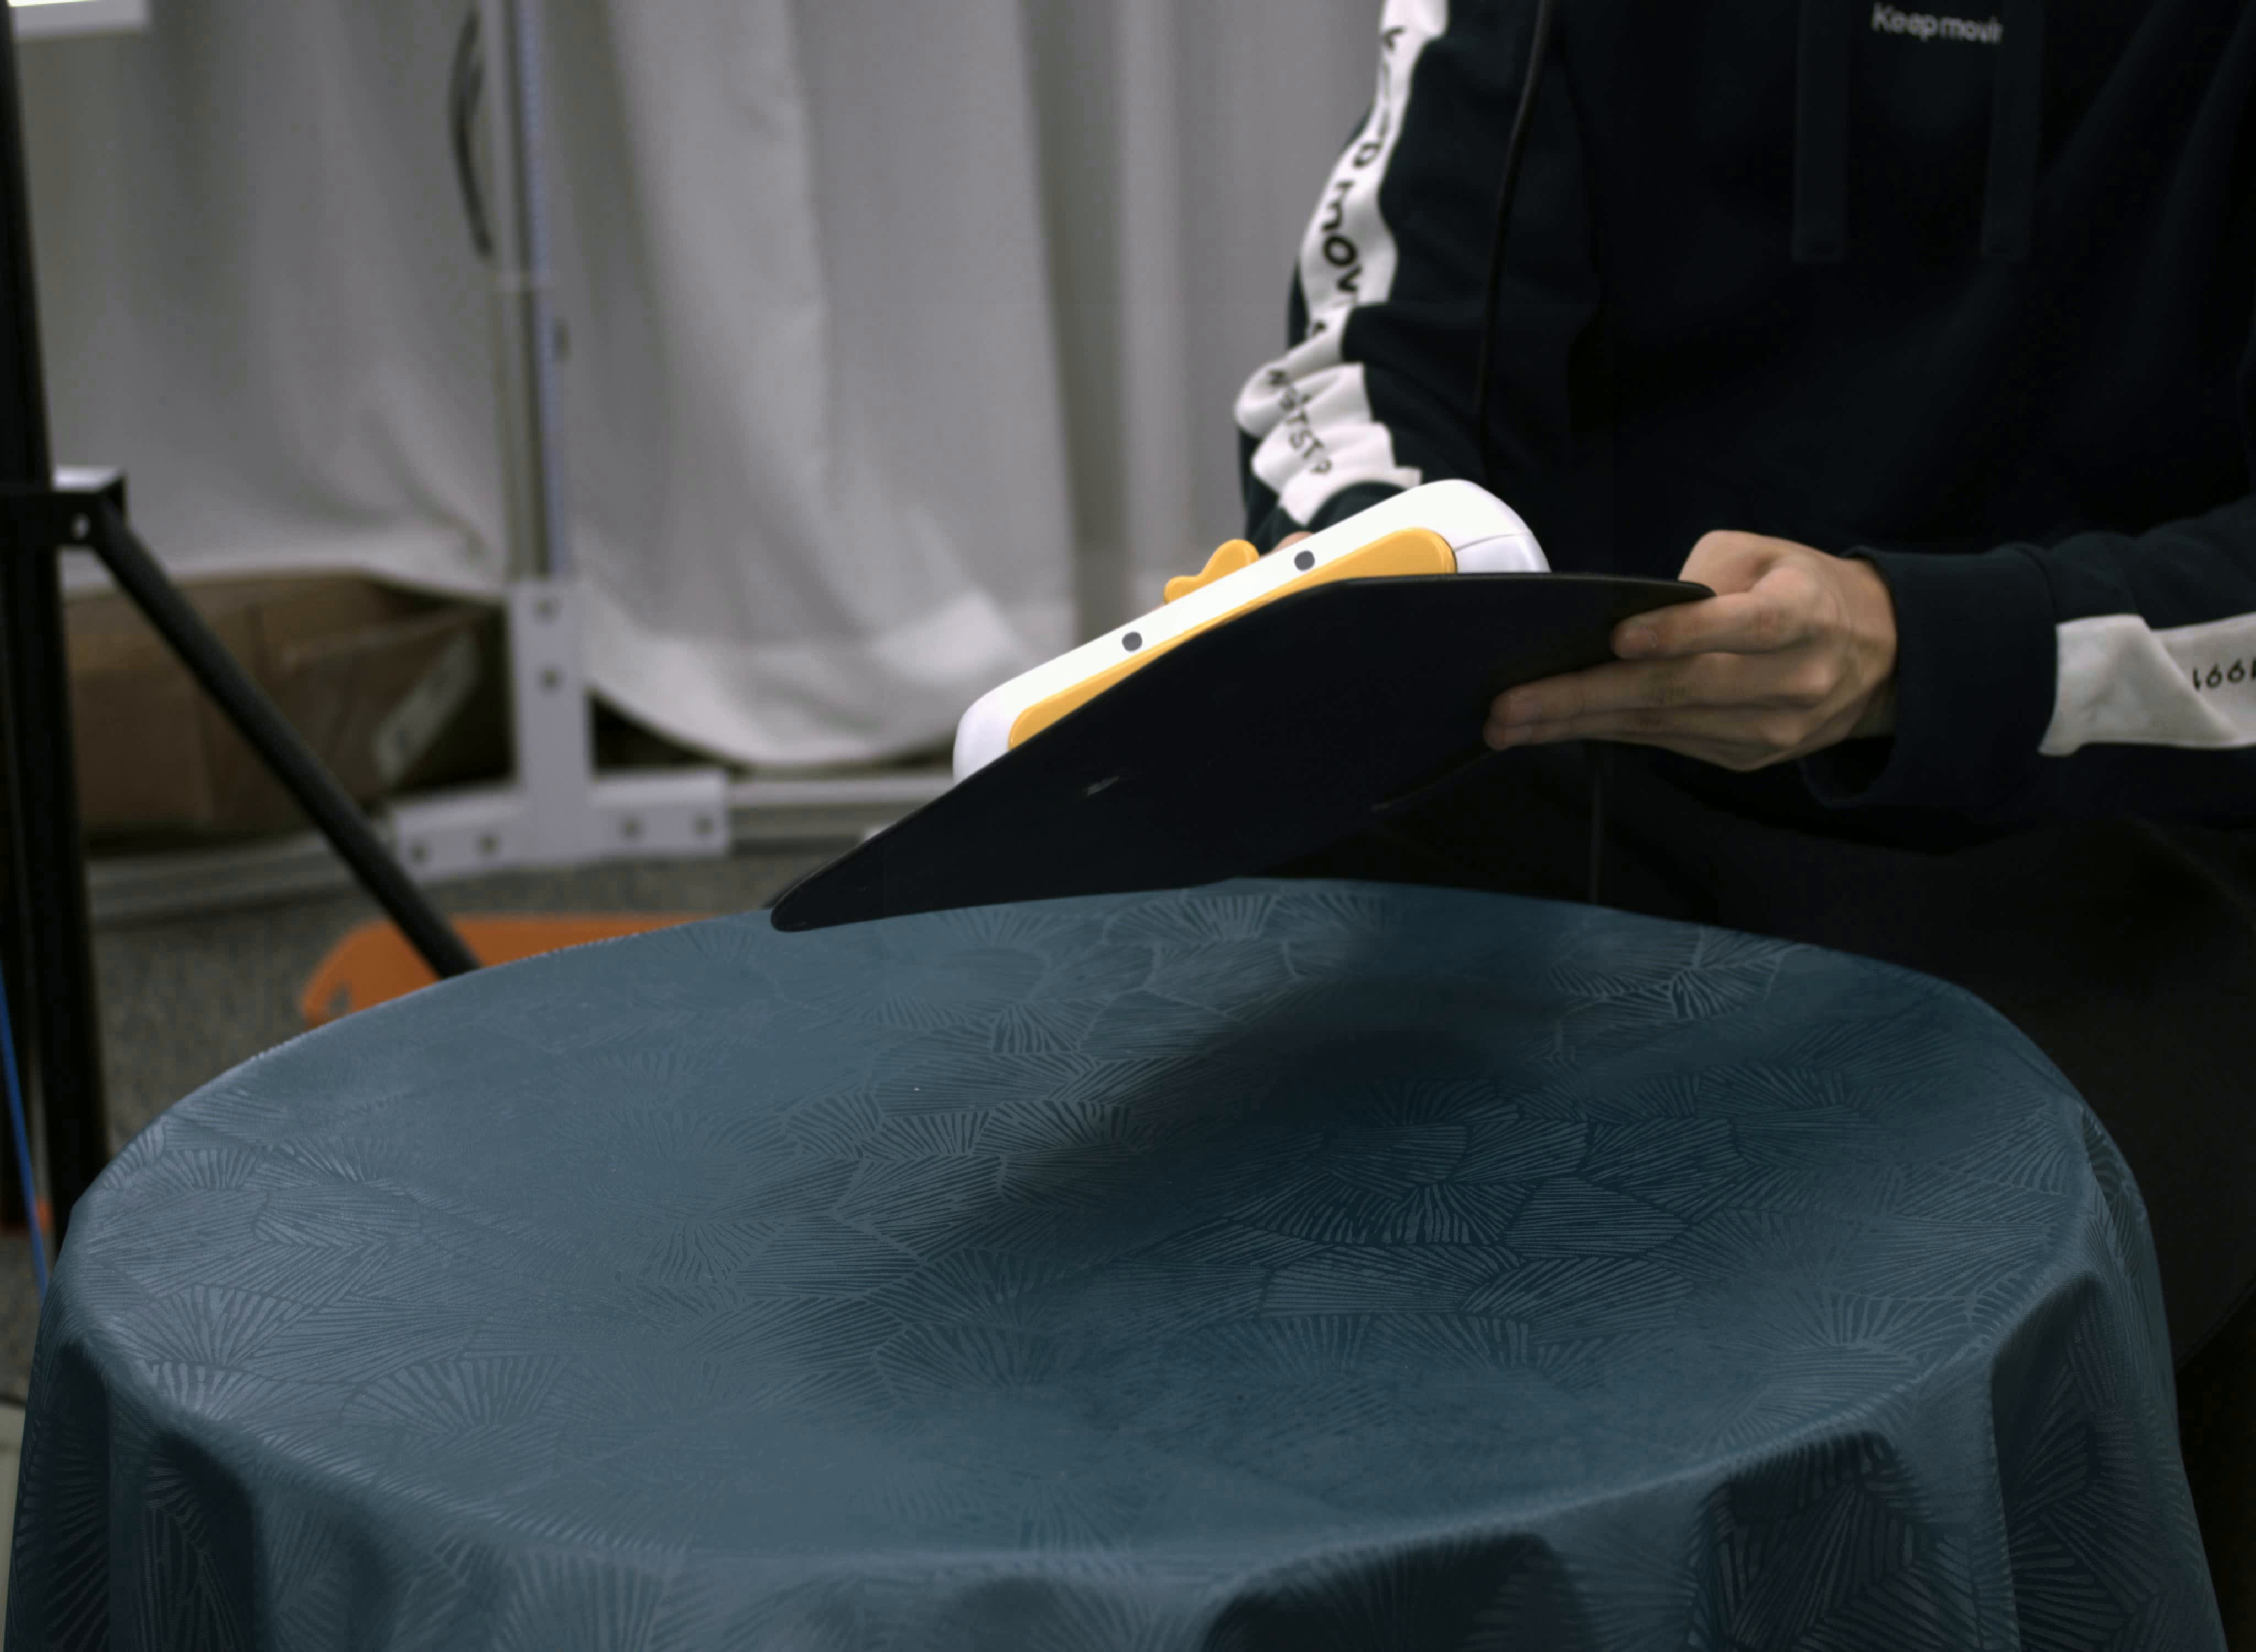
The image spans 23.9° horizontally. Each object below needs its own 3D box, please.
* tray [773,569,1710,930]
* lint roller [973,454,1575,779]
[{"bbox_3d":[0.043,-0.025,1.582,0.213,0.010,0.318,-32,-14,29],"label":"tray"},{"bbox_3d":[0.047,-0.042,1.670,0.192,0.075,0.190,-29,-15,1],"label":"lint roller"}]
